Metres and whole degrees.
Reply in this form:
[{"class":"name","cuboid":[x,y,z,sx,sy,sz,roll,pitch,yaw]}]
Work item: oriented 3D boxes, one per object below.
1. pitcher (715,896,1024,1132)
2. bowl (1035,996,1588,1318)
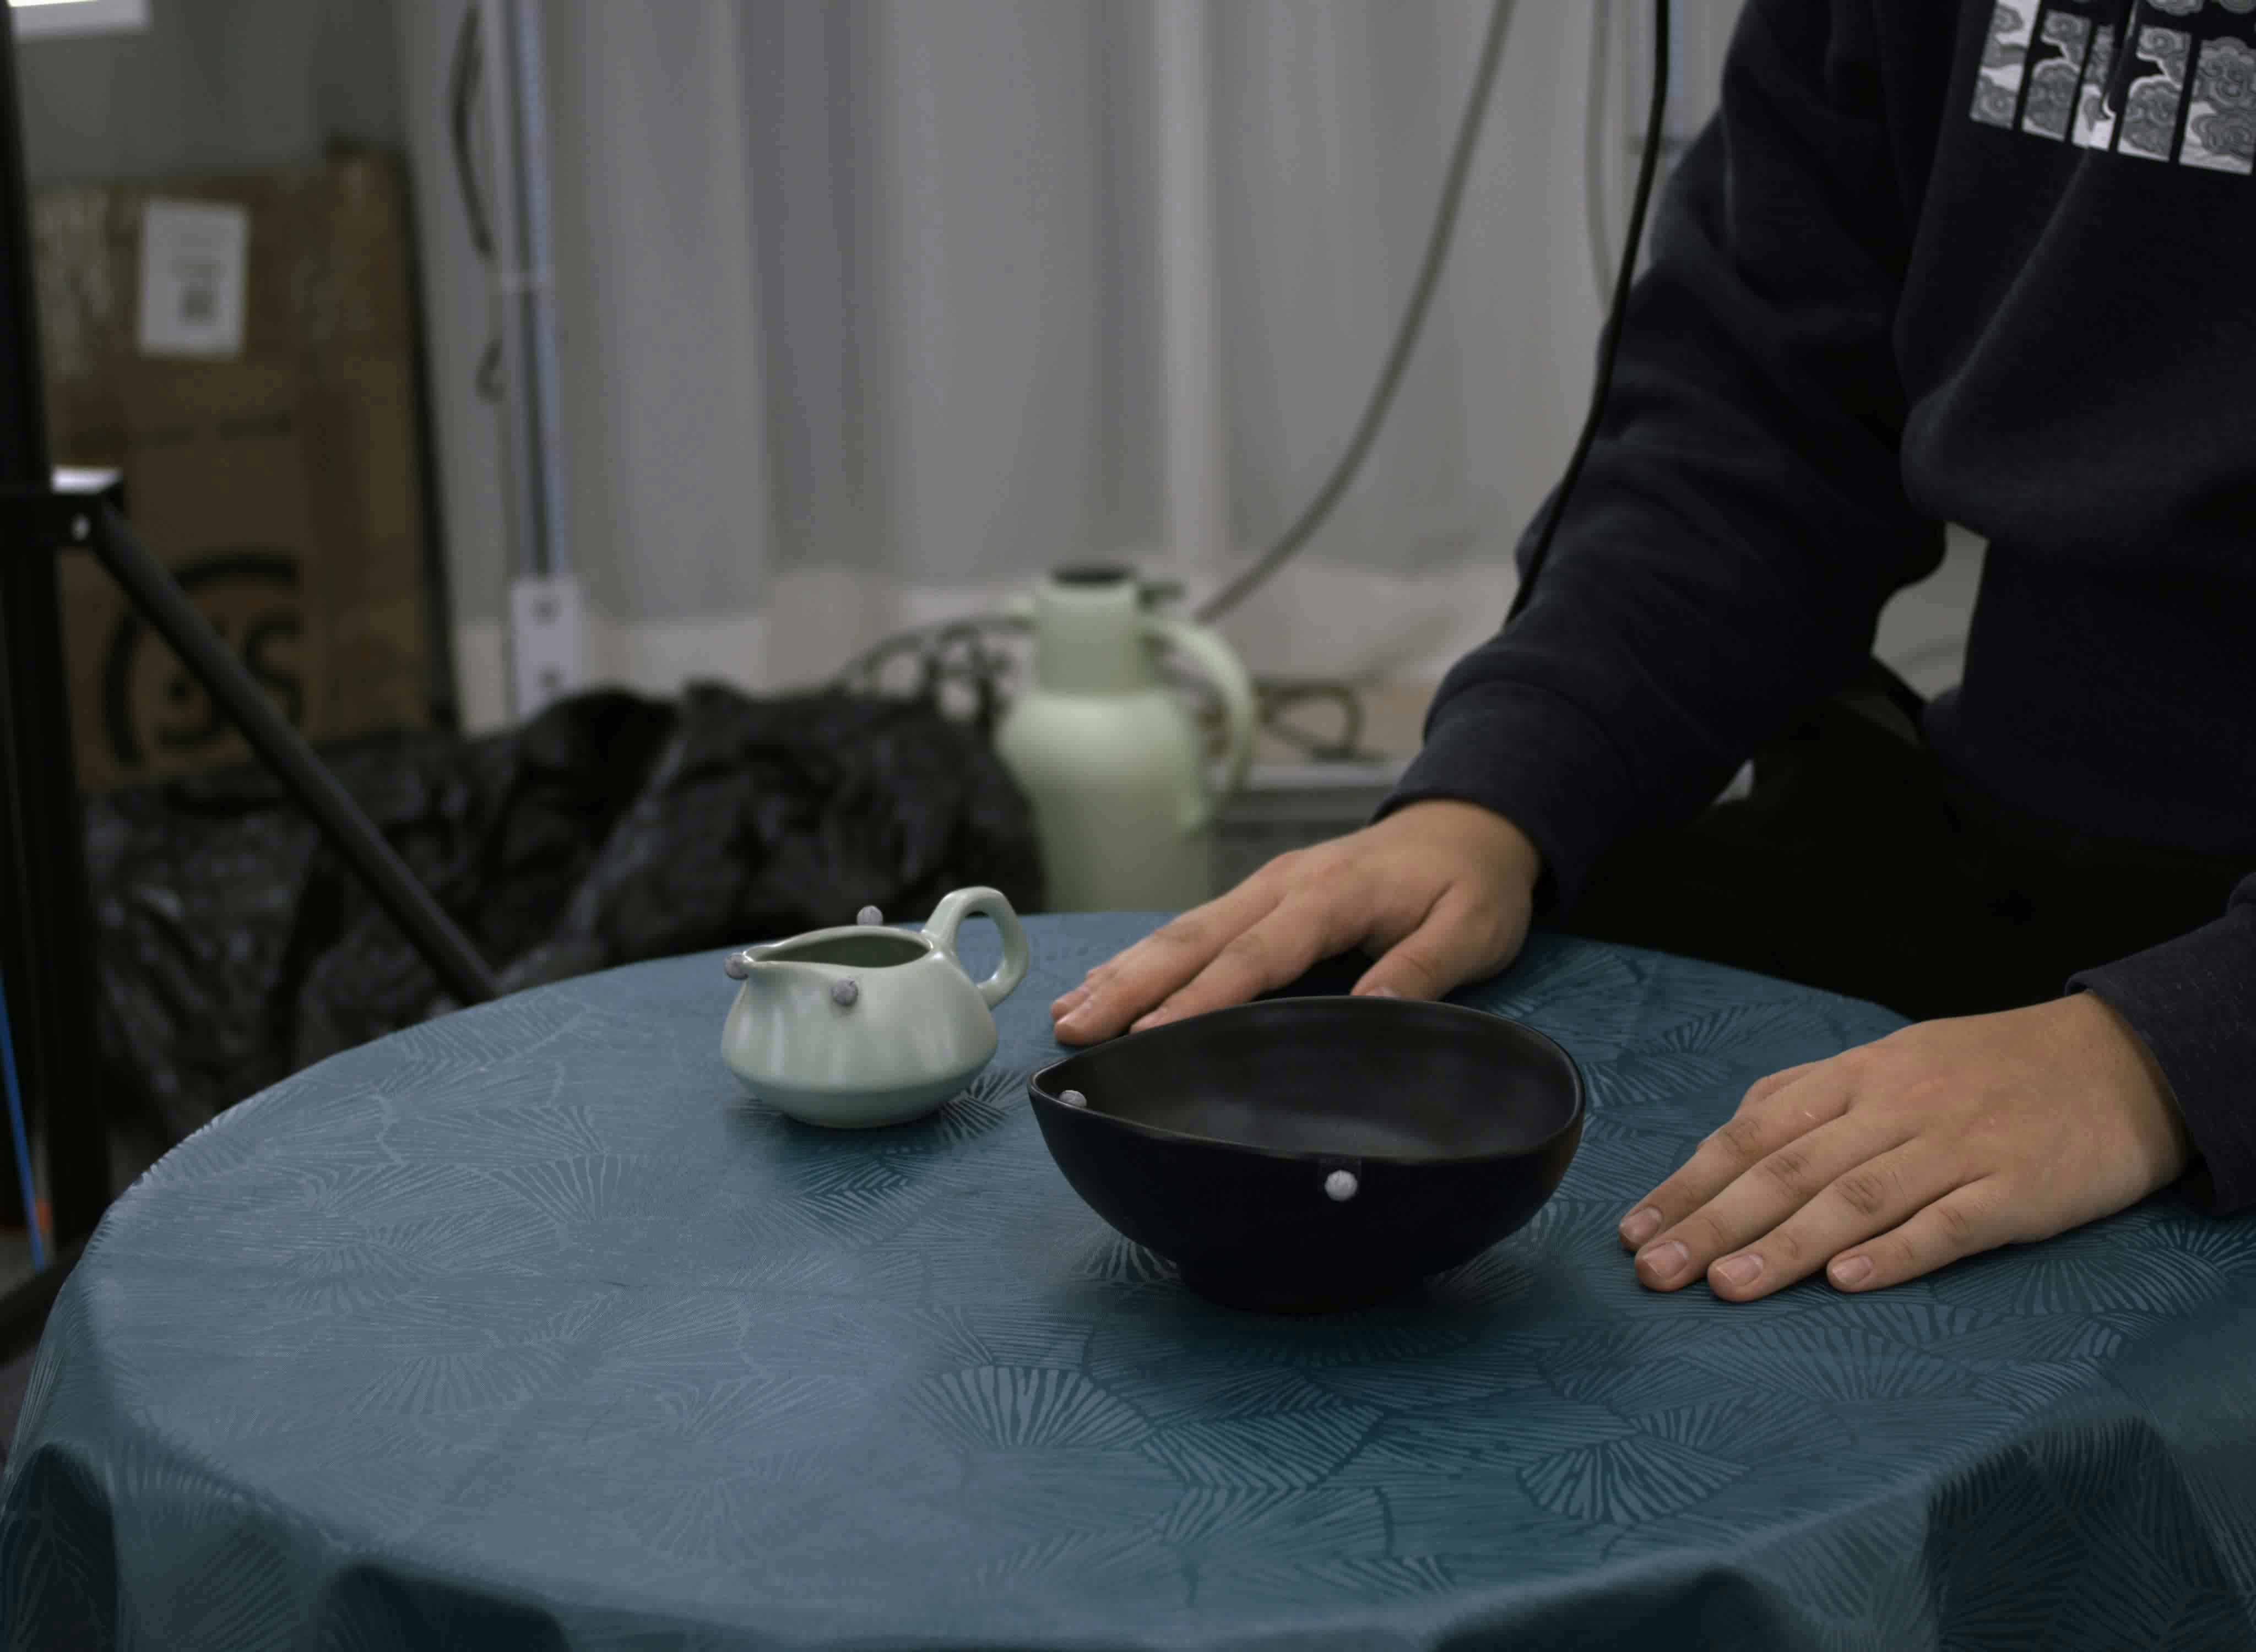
[{"class":"pitcher","cuboid":[-0.076,0.058,1.646,0.105,0.060,0.088,-12,20,-40]},{"class":"bowl","cuboid":[0.049,0.096,1.476,0.174,0.067,0.134,10,19,40]}]
